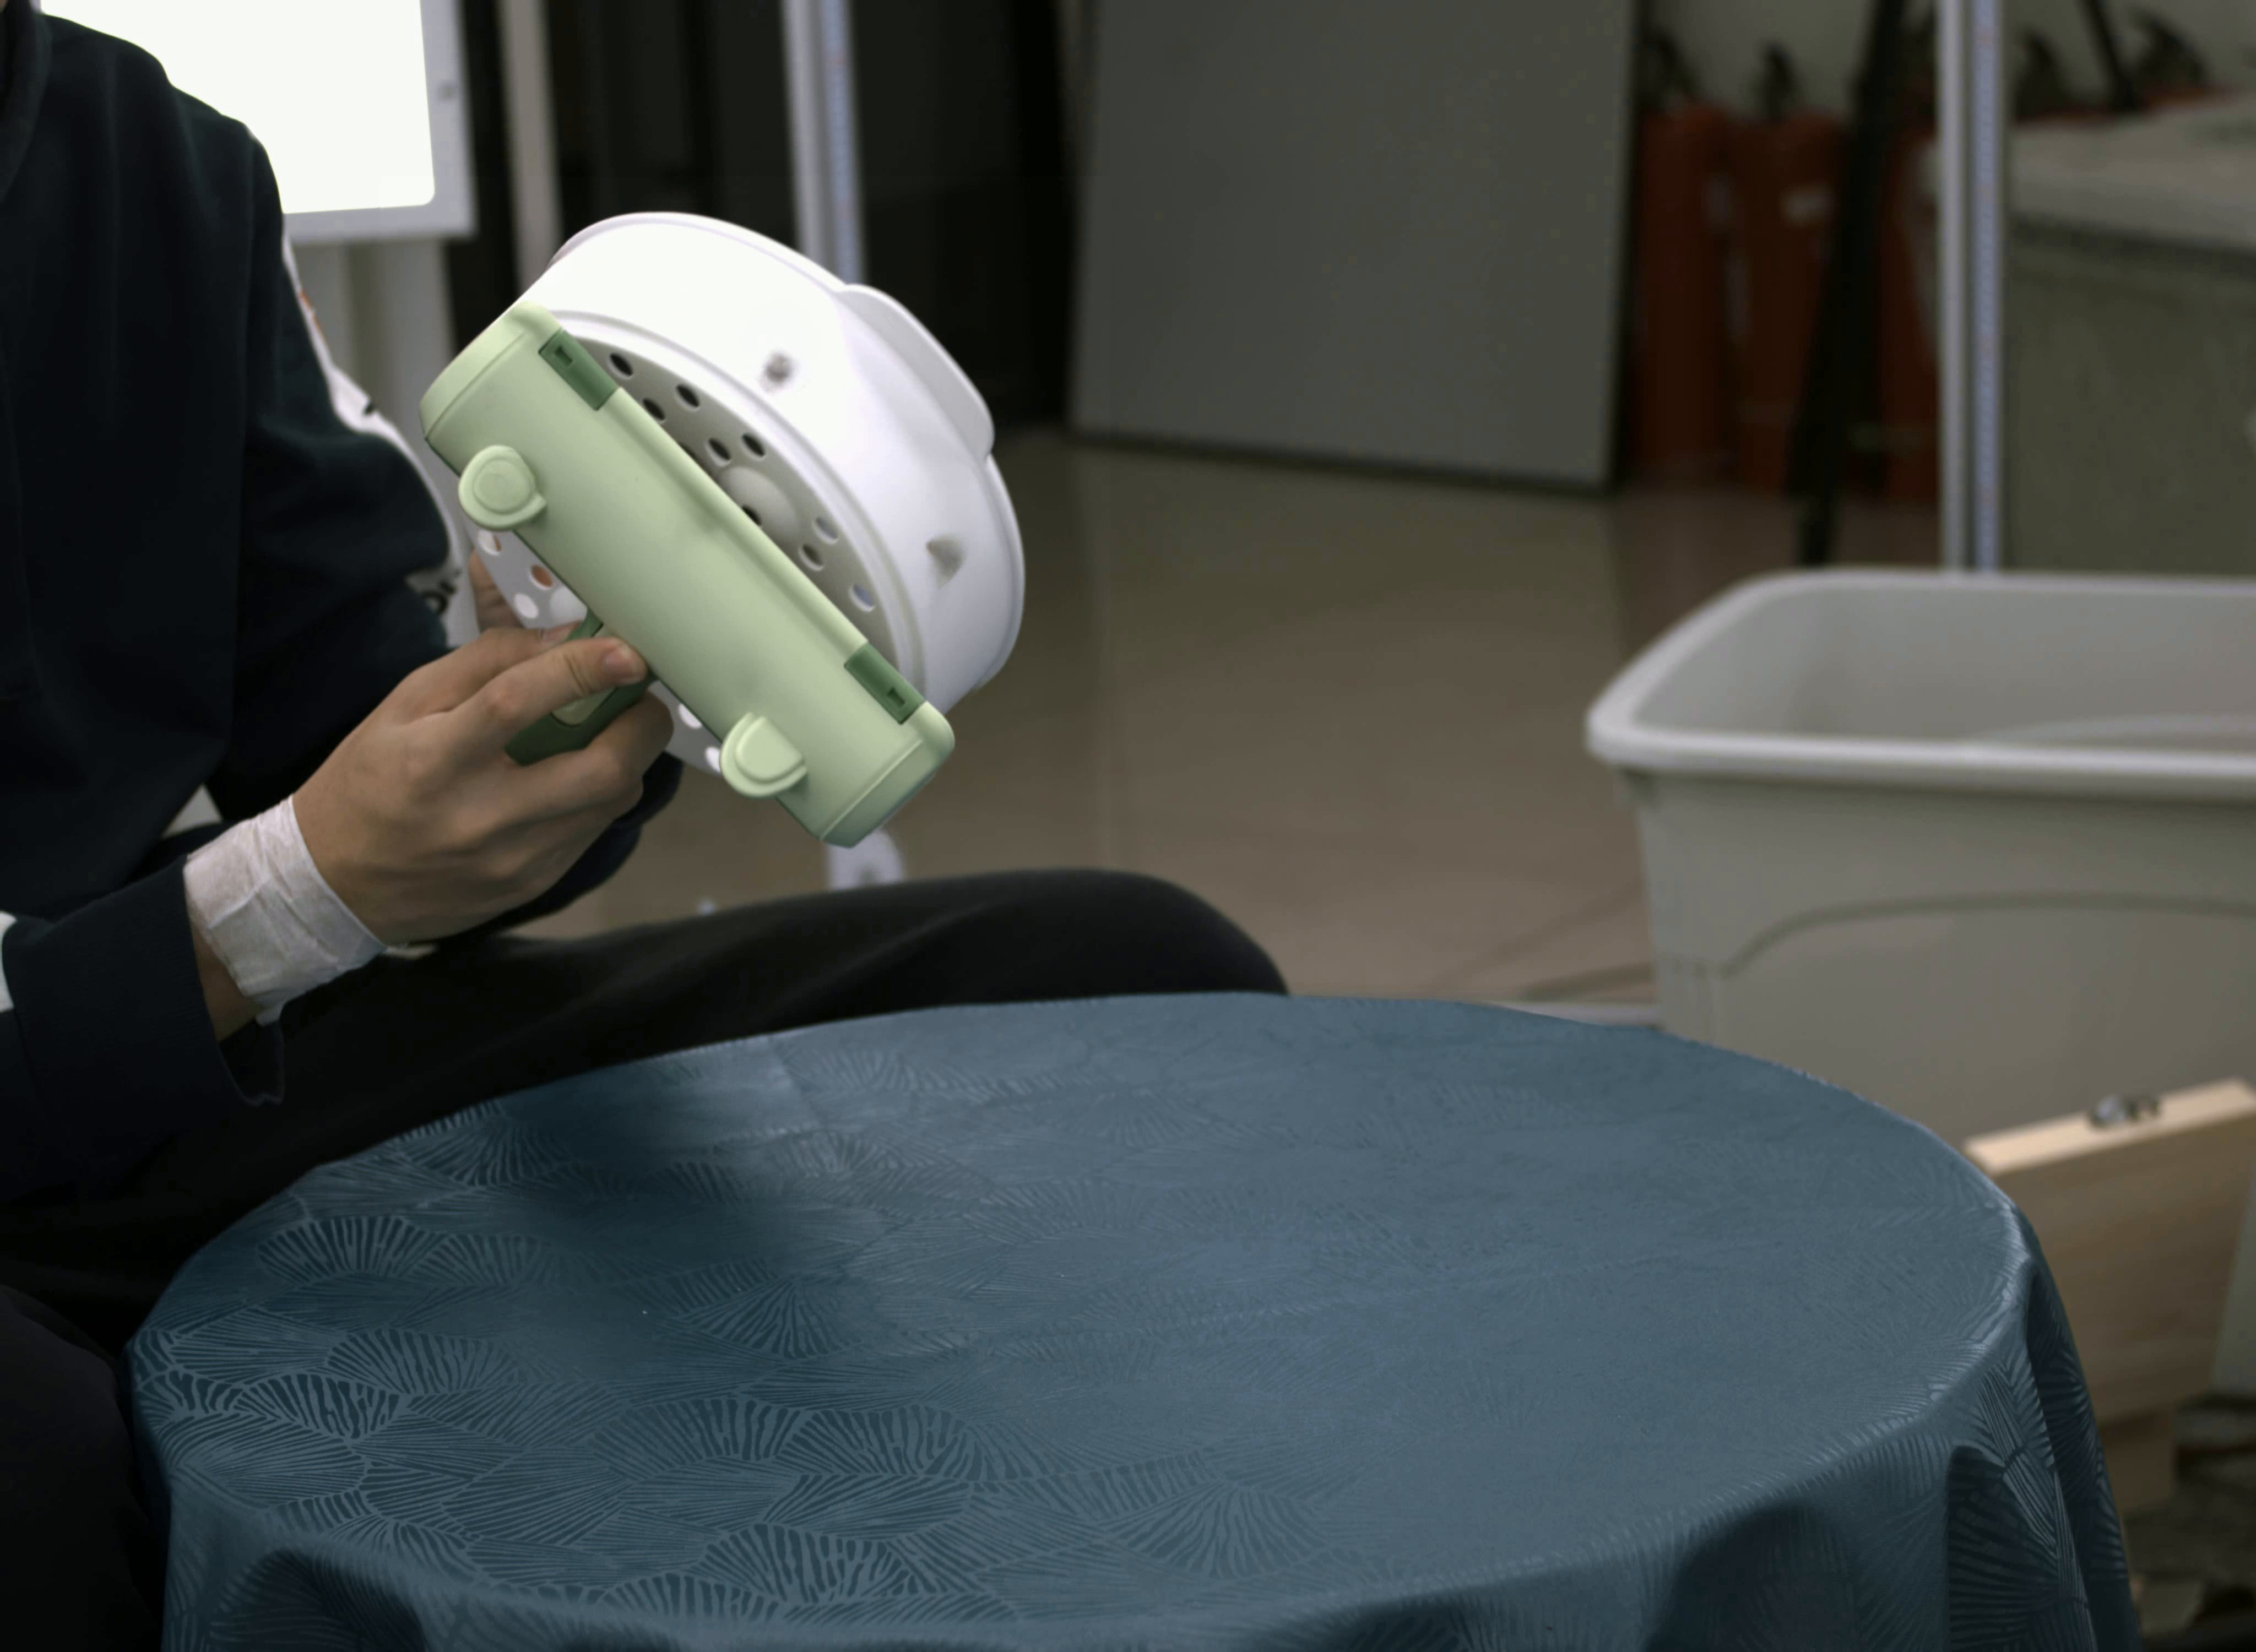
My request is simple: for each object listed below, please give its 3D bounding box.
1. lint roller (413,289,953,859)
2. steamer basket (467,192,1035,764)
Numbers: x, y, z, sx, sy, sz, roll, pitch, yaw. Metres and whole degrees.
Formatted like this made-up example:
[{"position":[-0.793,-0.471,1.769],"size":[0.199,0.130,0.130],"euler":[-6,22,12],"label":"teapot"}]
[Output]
[{"position":[-0.176,-0.041,1.706],"size":[0.185,0.198,0.081],"euler":[-45,0,27],"label":"lint roller"},{"position":[-0.127,-0.104,1.761],"size":[0.068,0.201,0.233],"euler":[-47,10,-34],"label":"steamer basket"}]
